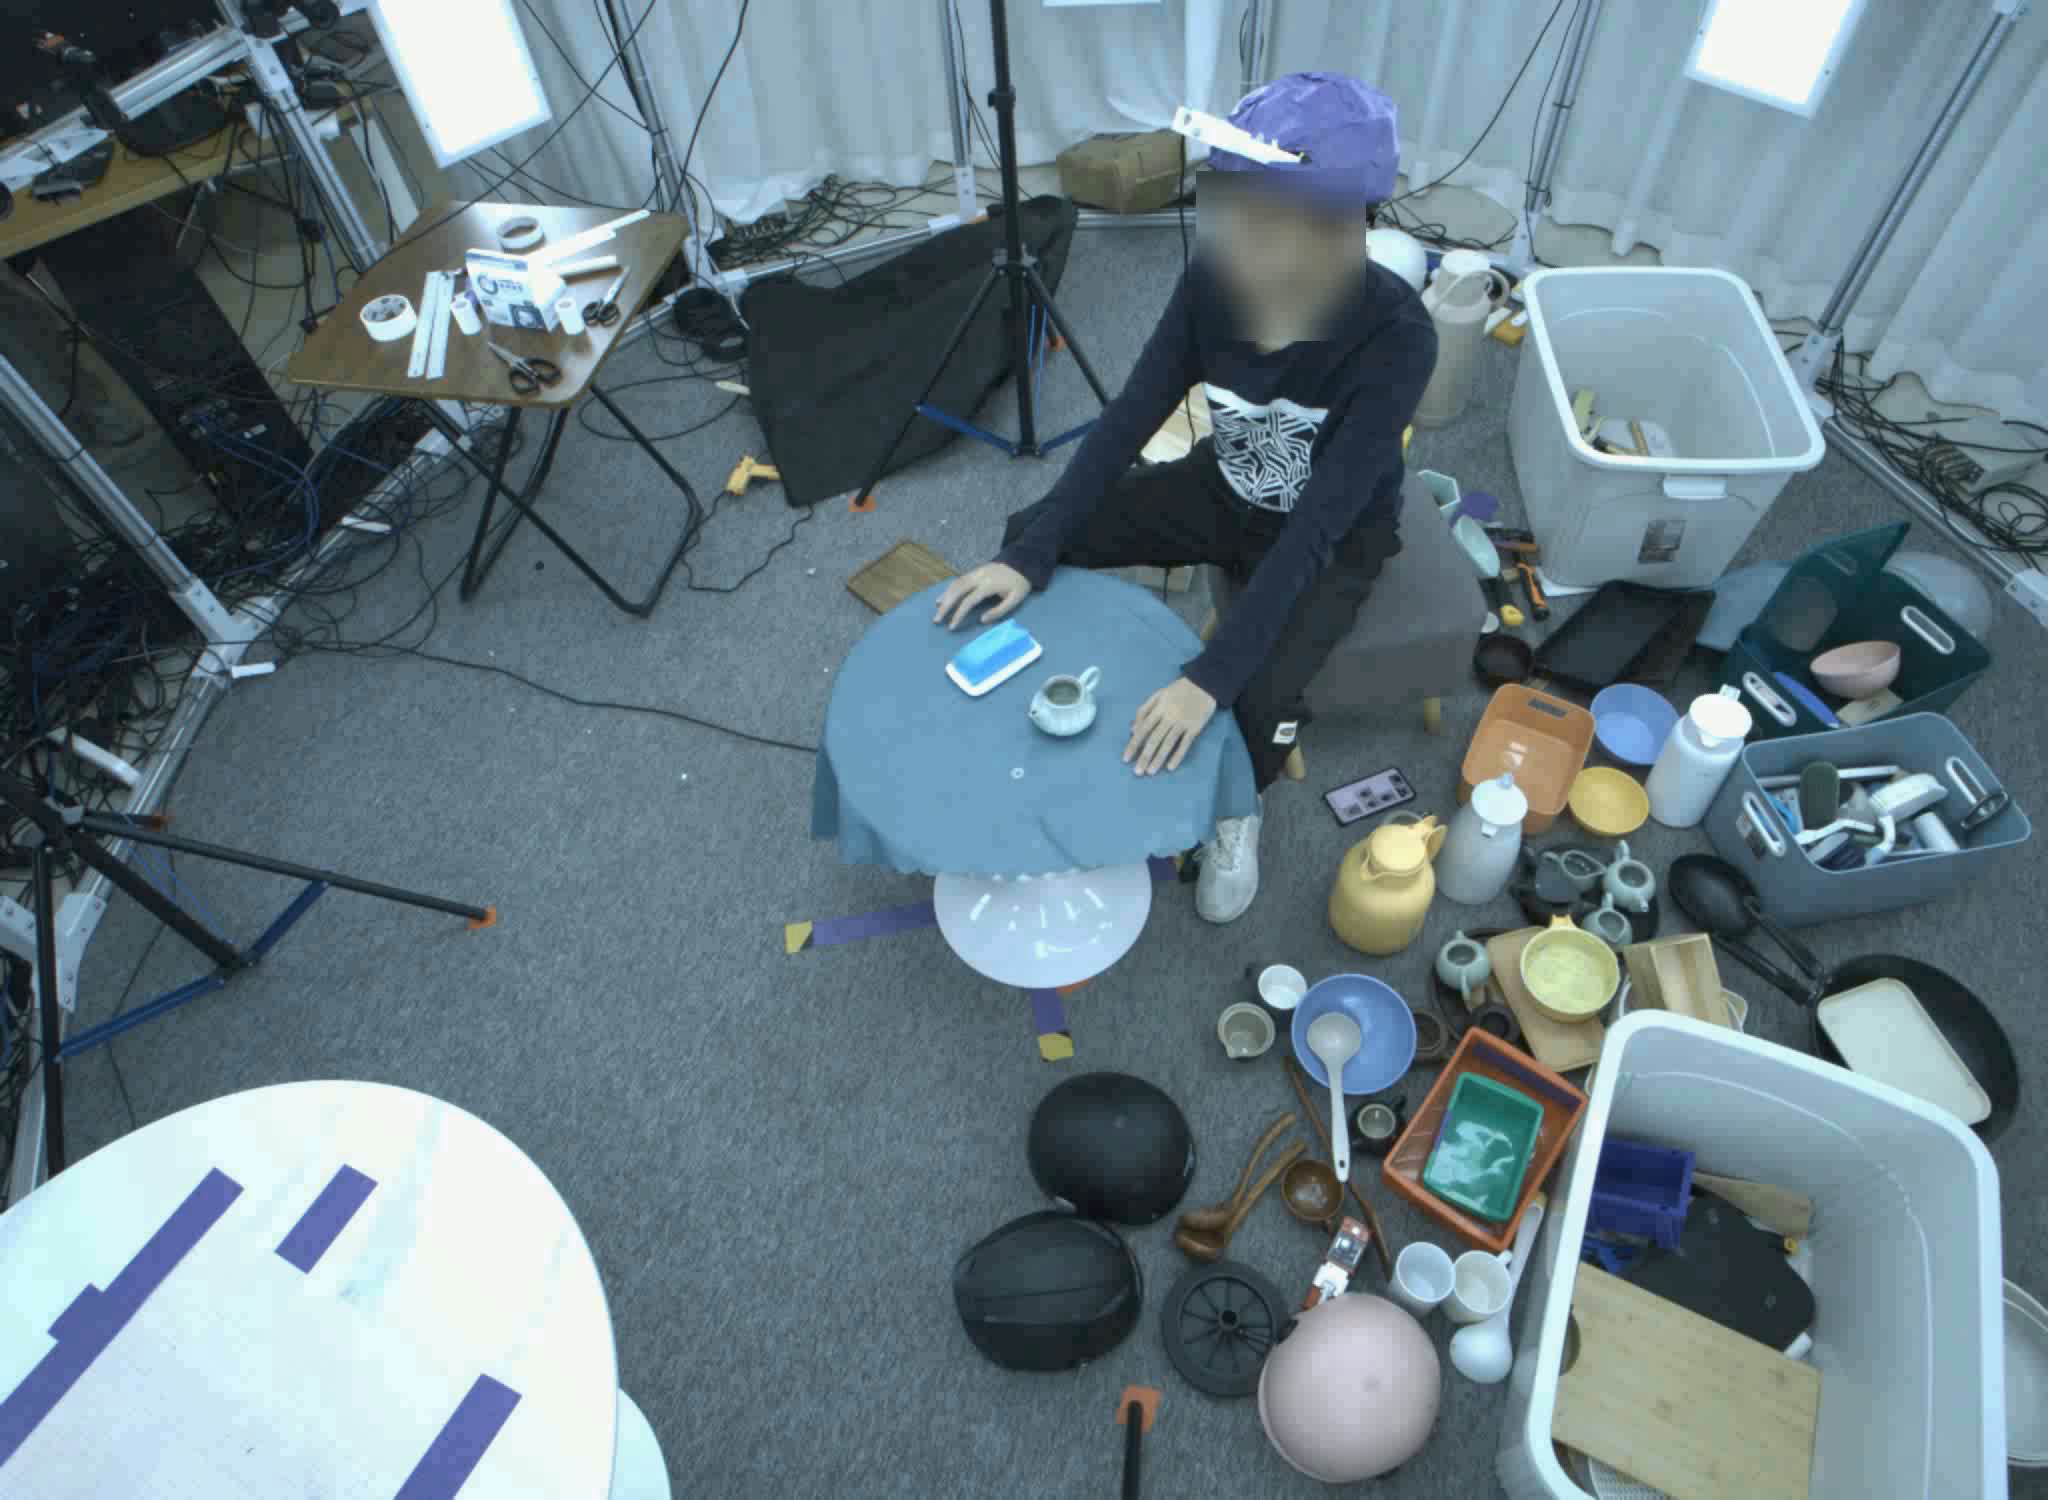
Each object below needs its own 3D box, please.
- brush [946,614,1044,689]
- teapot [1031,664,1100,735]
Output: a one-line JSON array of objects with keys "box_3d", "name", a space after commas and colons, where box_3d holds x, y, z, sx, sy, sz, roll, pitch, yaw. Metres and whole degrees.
[{"box_3d": [-0.044, -0.157, 1.855, 0.145, 0.056, 0.082, -35, 63, -17], "name": "brush"}, {"box_3d": [0.062, -0.072, 1.792, 0.138, 0.062, 0.094, -39, 59, -22], "name": "teapot"}]
